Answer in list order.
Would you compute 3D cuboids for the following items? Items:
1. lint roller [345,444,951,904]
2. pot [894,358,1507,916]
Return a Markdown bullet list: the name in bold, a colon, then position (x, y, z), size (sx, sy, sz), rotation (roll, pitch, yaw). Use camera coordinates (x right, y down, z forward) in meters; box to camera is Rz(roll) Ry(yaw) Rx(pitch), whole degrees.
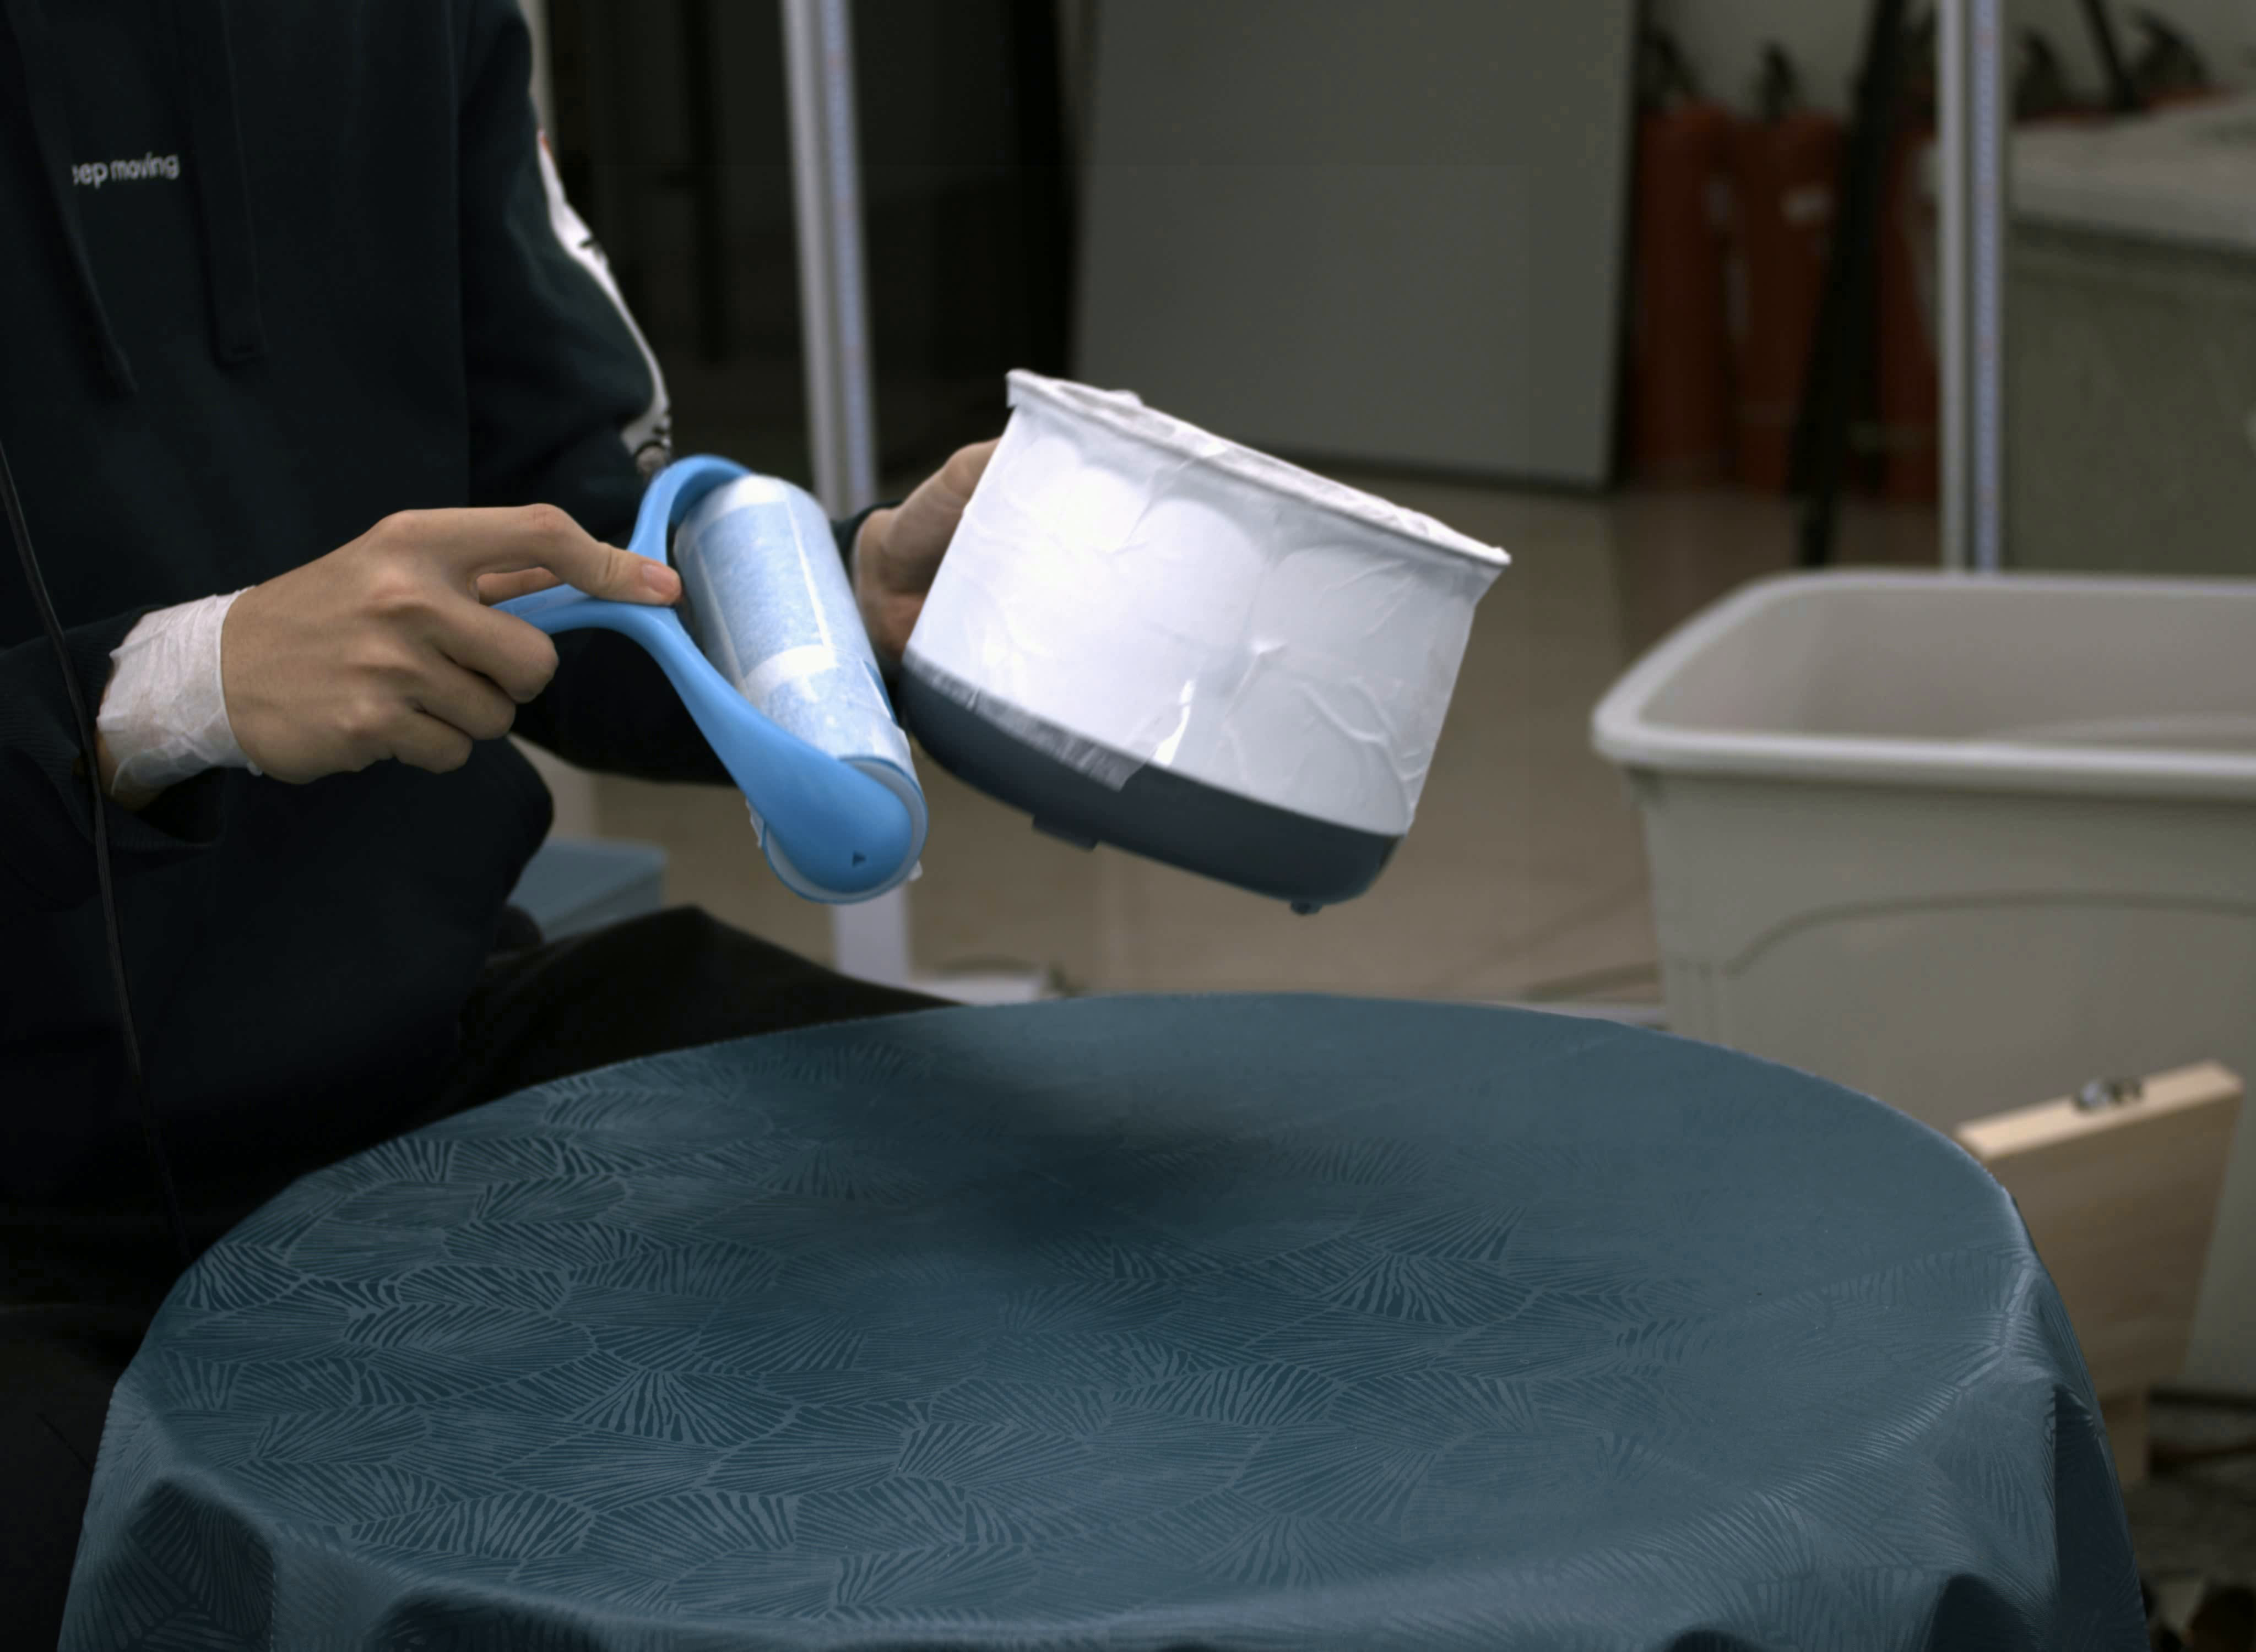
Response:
- **lint roller**: position (-0.158, -0.049, 1.732), size (0.176, 0.068, 0.231), rotation (-1, 33, -17)
- **pot**: position (0.007, -0.069, 1.789), size (0.175, 0.138, 0.236), rotation (17, 8, -30)
